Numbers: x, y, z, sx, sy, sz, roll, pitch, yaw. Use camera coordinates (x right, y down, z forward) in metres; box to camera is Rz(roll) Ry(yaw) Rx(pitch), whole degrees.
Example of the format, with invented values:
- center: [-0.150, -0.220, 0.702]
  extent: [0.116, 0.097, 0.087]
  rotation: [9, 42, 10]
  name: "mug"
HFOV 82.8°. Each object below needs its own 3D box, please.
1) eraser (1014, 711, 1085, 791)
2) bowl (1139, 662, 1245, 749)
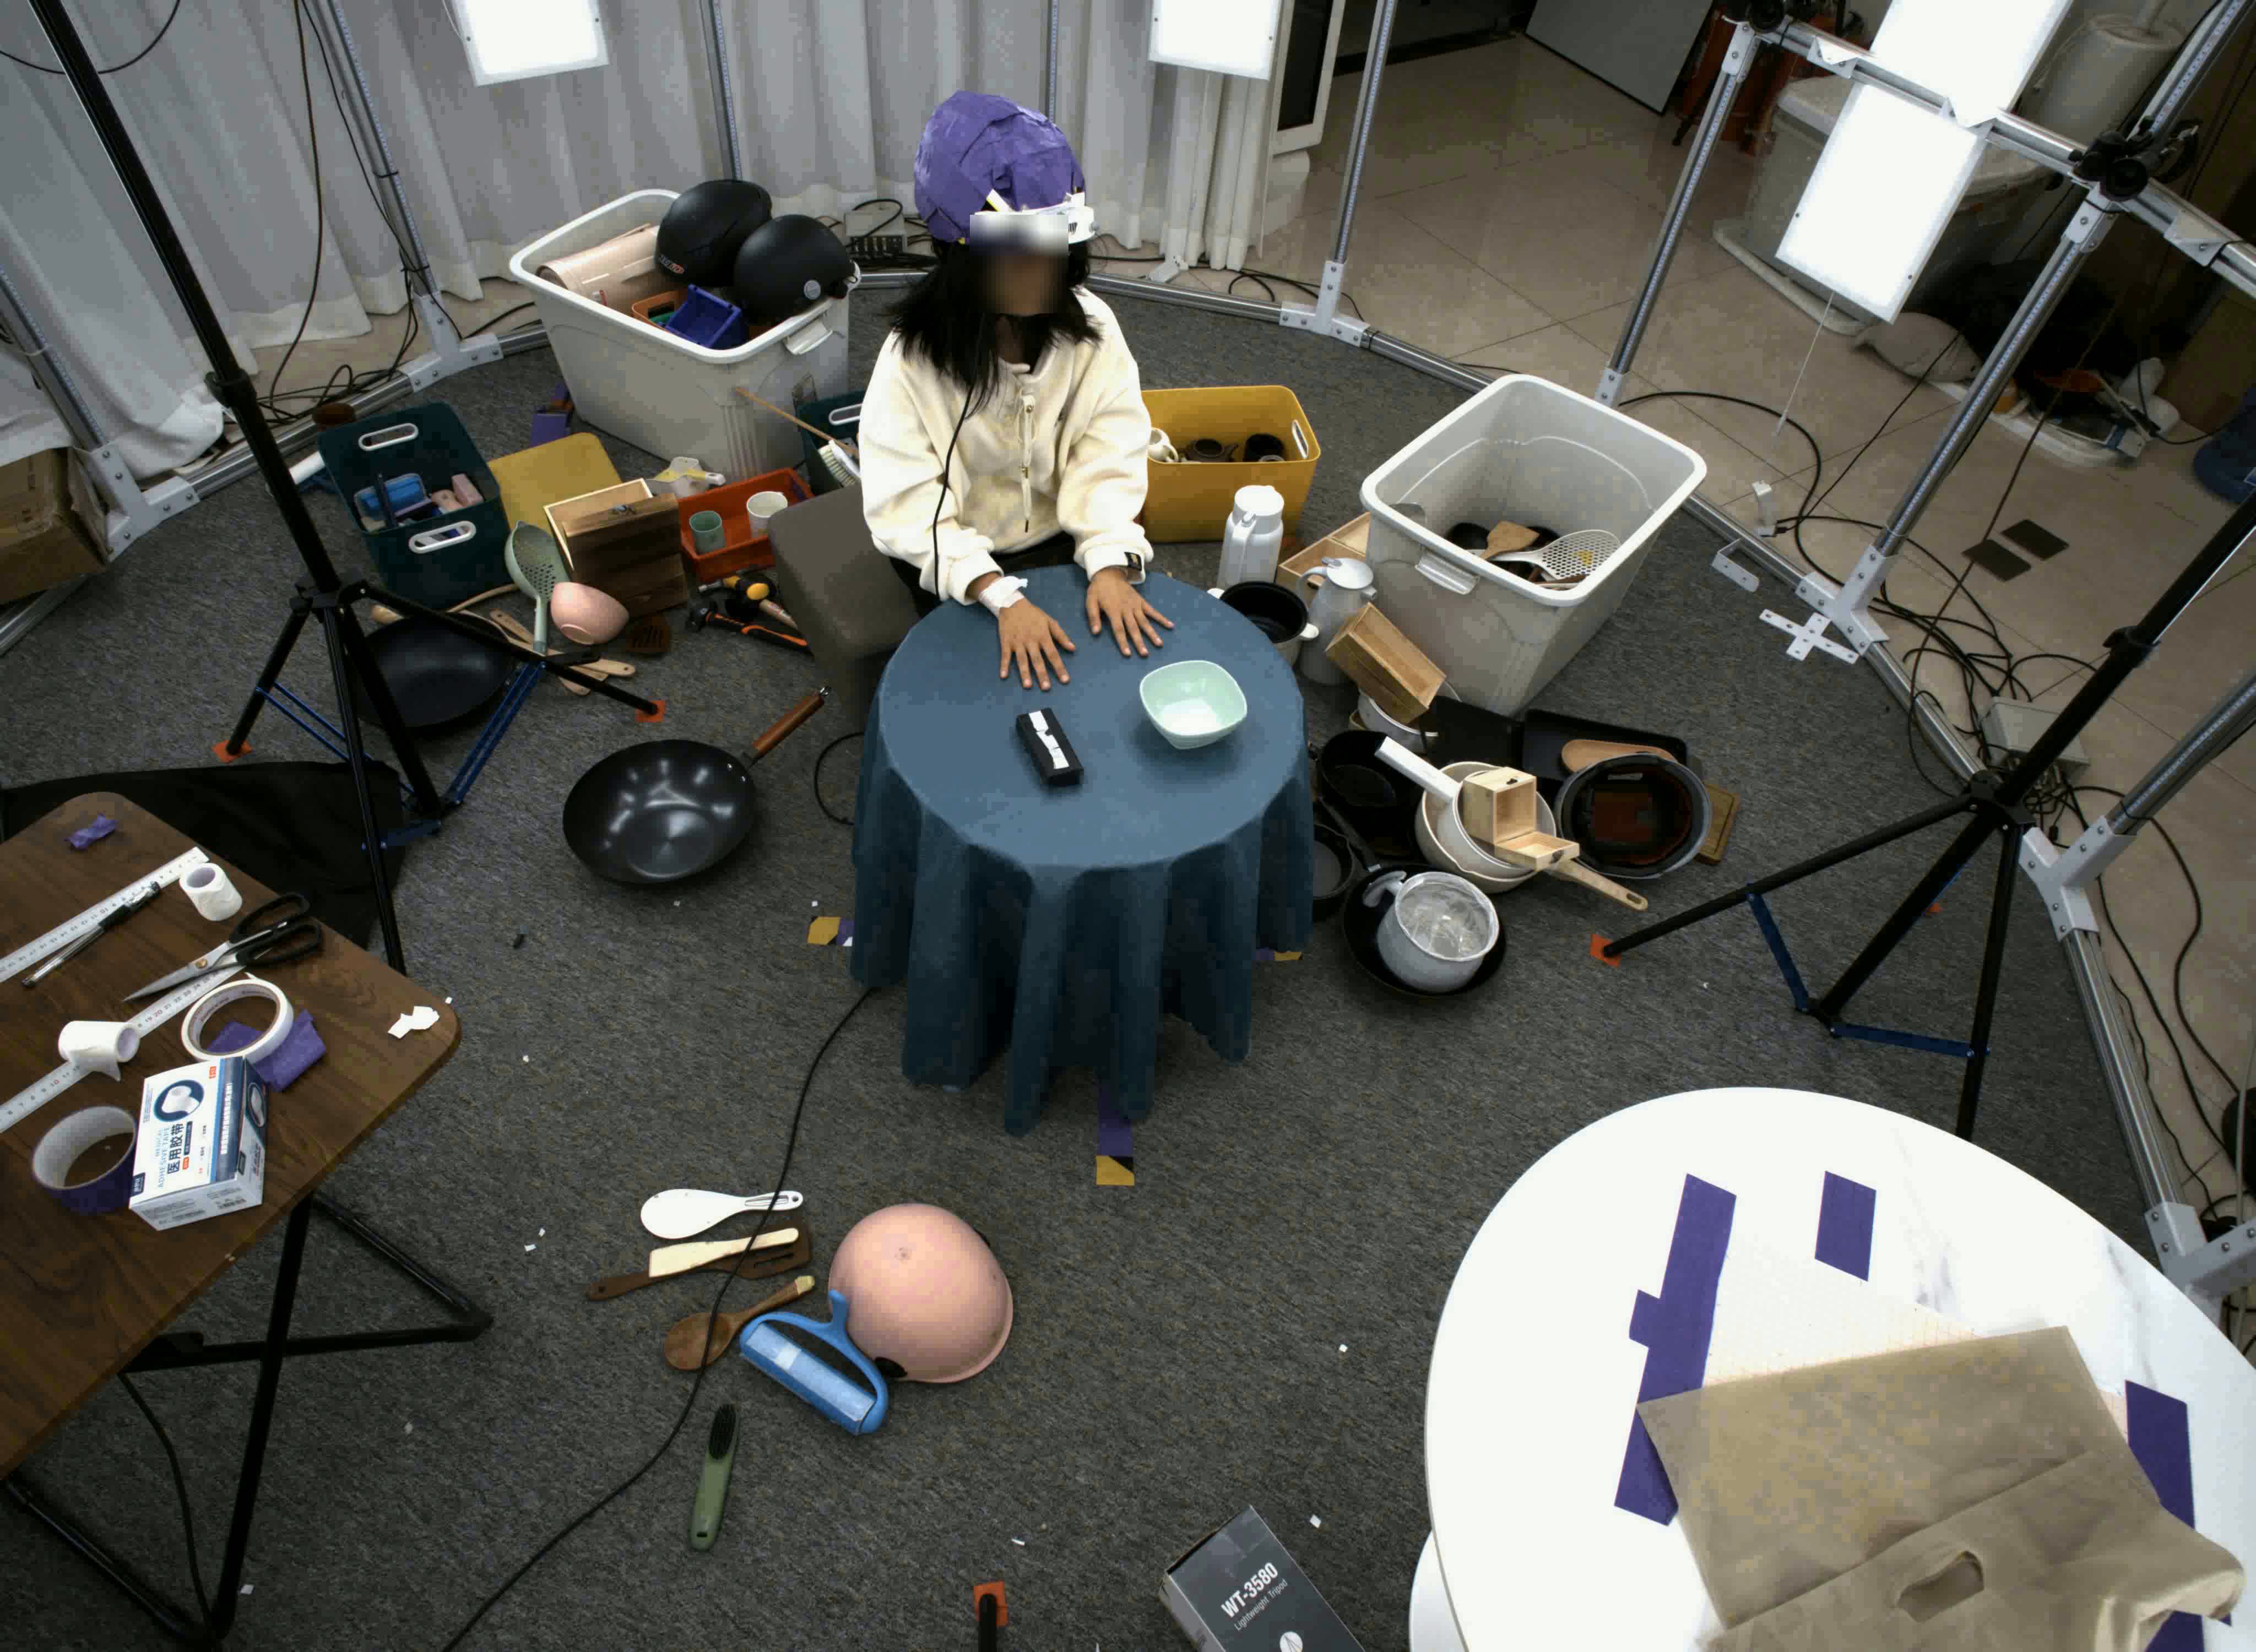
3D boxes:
- center: [-0.107, -0.103, 1.735]
  extent: [0.053, 0.030, 0.128]
  rotation: [-16, 50, -19]
  name: "eraser"
- center: [0.085, -0.158, 1.777]
  extent: [0.151, 0.057, 0.155]
  rotation: [4, 48, -4]
  name: "bowl"
